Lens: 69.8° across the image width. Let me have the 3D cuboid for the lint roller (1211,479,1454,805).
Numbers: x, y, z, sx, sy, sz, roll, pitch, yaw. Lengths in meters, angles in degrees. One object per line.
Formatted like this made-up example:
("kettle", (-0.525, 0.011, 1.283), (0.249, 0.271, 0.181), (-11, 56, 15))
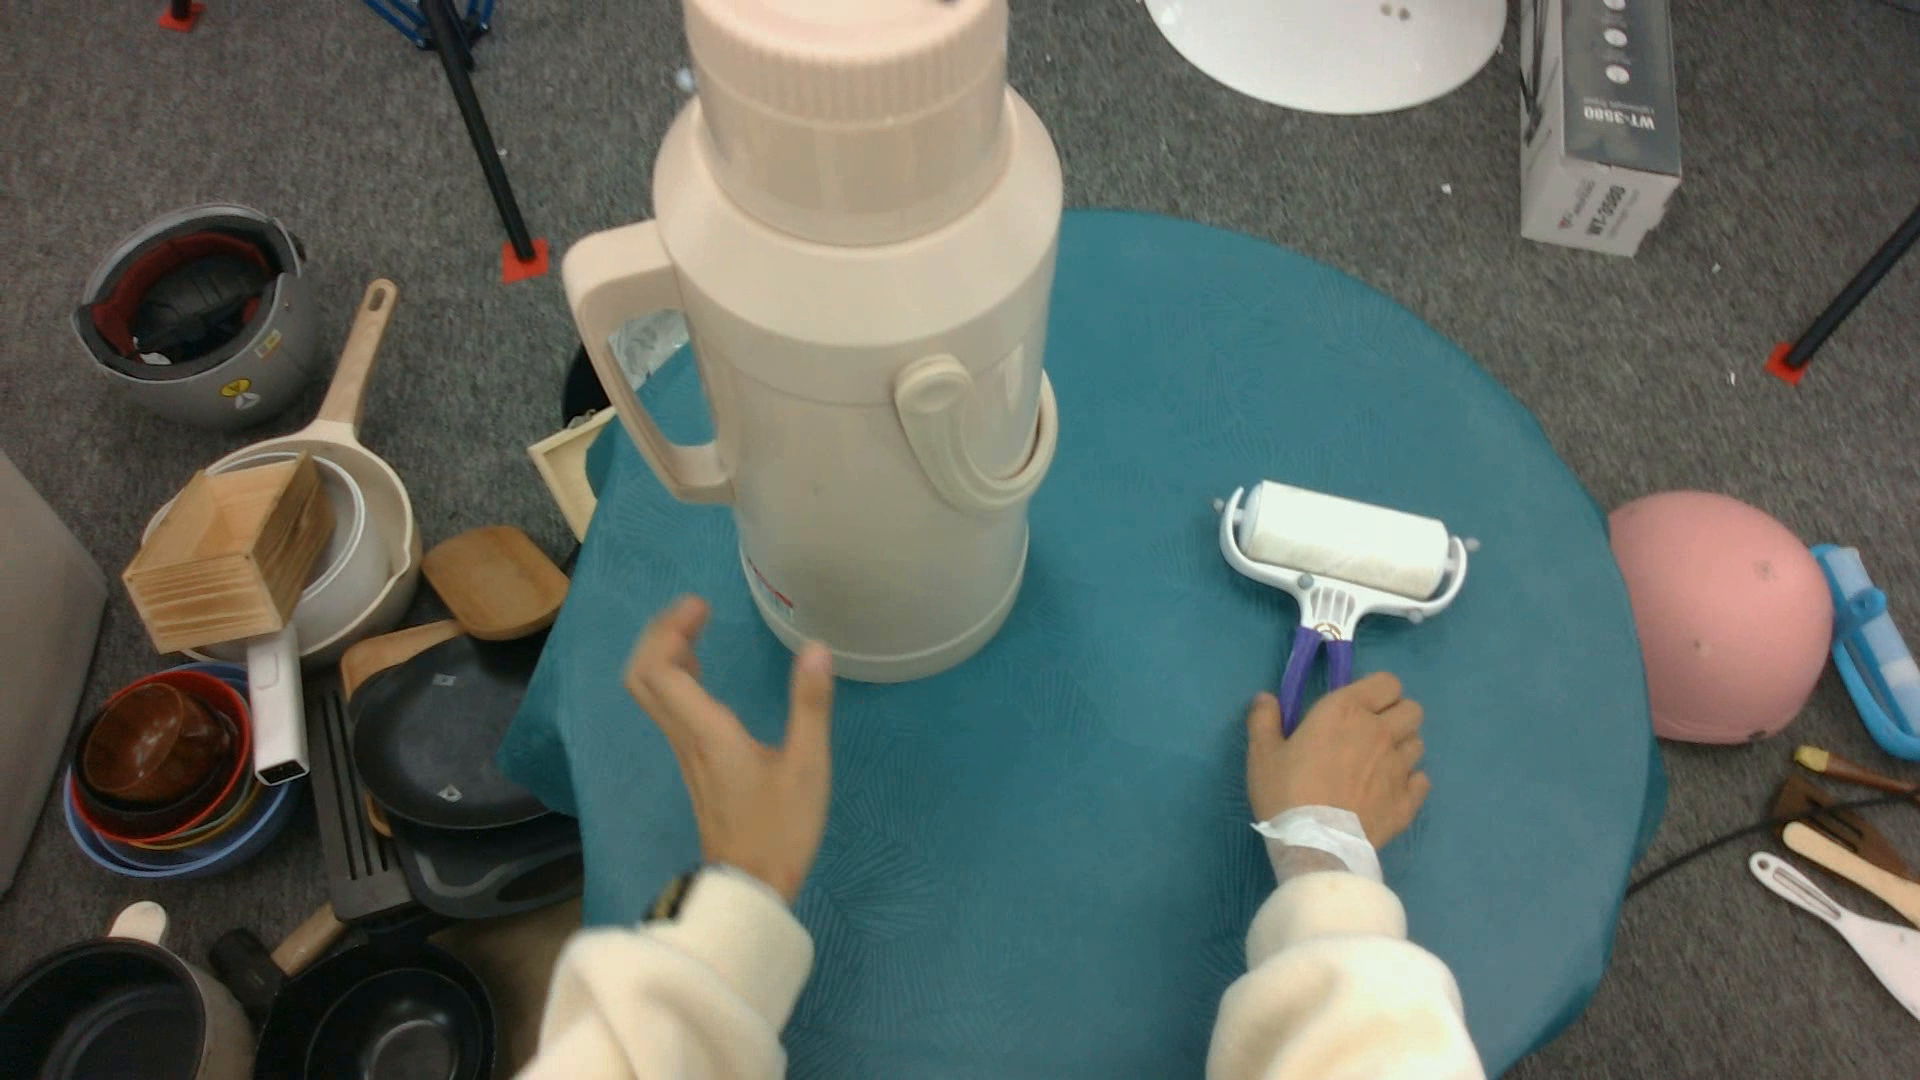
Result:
("lint roller", (0.190, 0.052, 0.738), (0.133, 0.050, 0.181), (16, 57, 6))

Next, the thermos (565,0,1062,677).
("thermos", (-0.054, -0.088, 0.611), (0.207, 0.404, 0.176), (-17, 63, -11))
